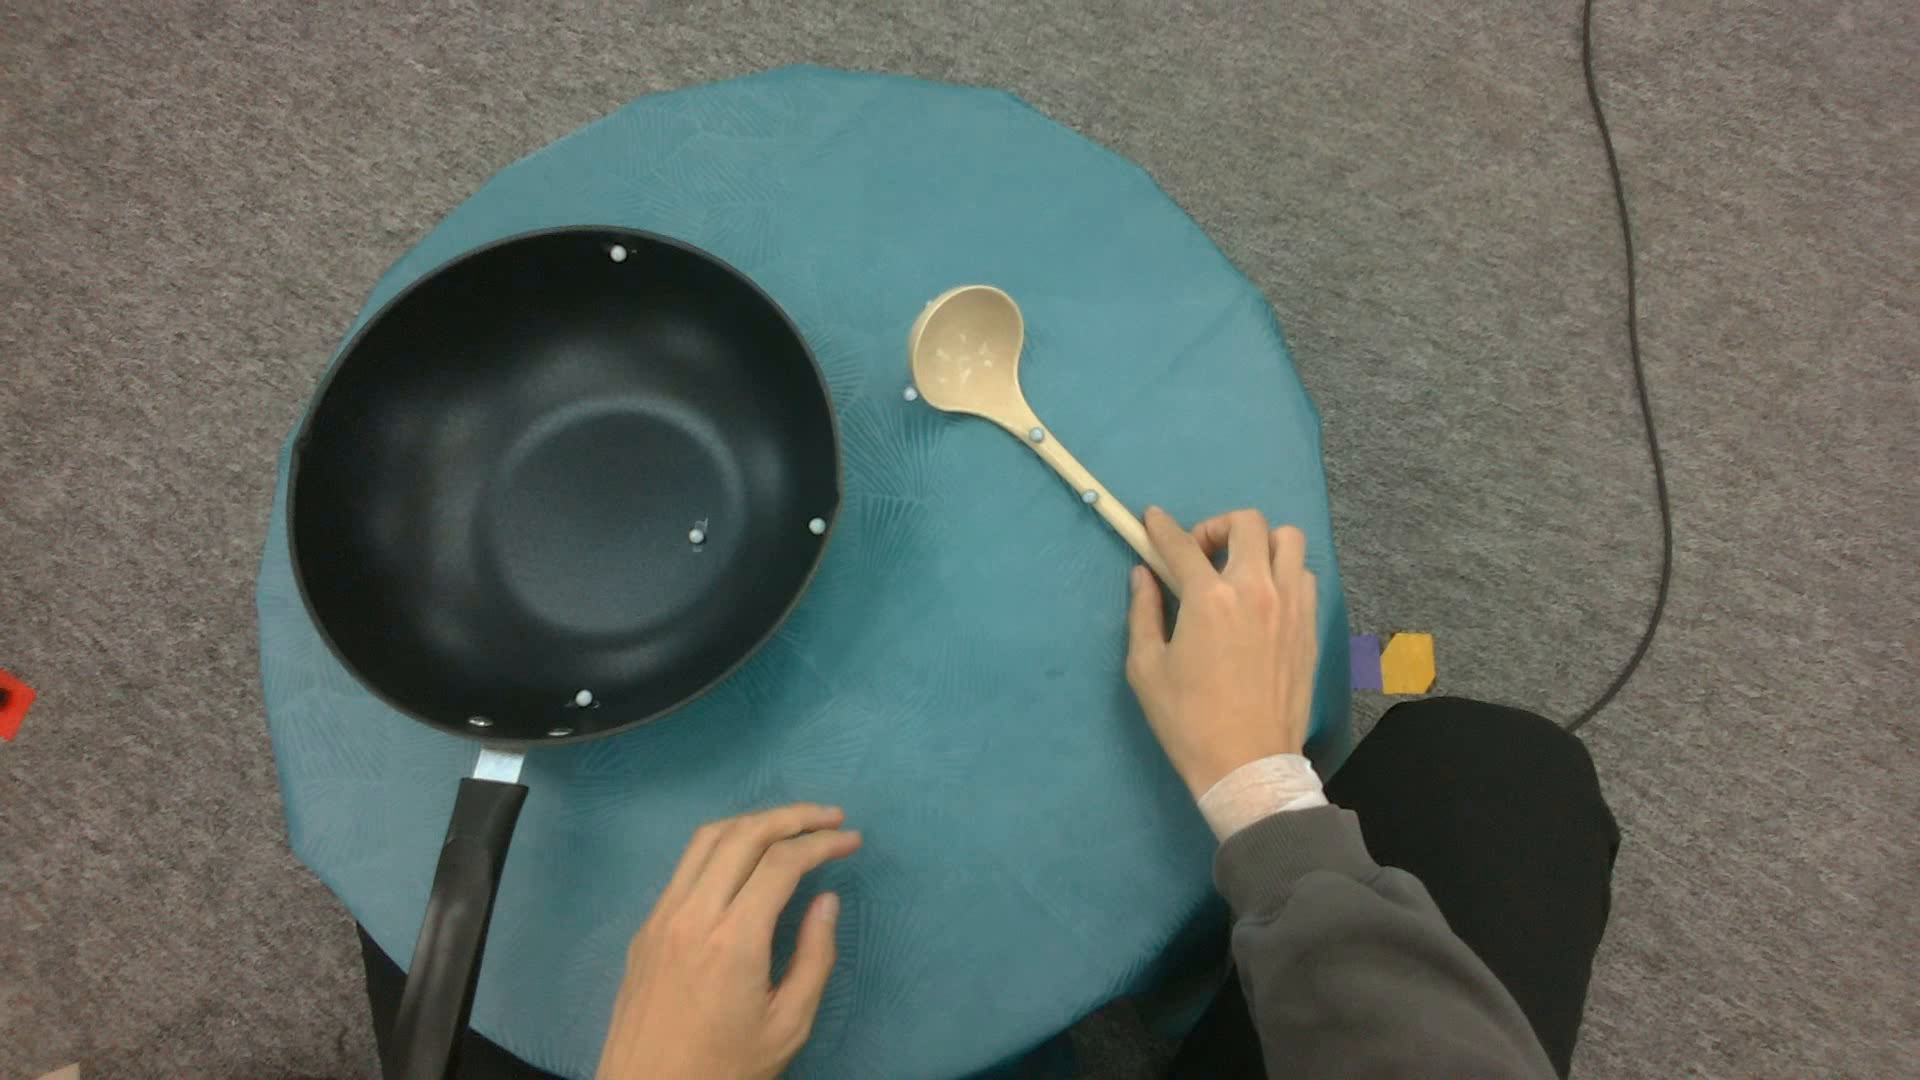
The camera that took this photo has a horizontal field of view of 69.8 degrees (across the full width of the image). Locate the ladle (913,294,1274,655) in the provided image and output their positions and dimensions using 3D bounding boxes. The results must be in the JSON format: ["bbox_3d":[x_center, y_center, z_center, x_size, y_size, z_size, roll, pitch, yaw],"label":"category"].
[{"bbox_3d":[0.076,-0.036,0.741,0.072,0.072,0.254,-43,73,-10],"label":"ladle"}]

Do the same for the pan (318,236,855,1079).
[{"bbox_3d":[-0.207,0.065,0.724,0.288,0.086,0.464,7,74,6],"label":"pan"}]
